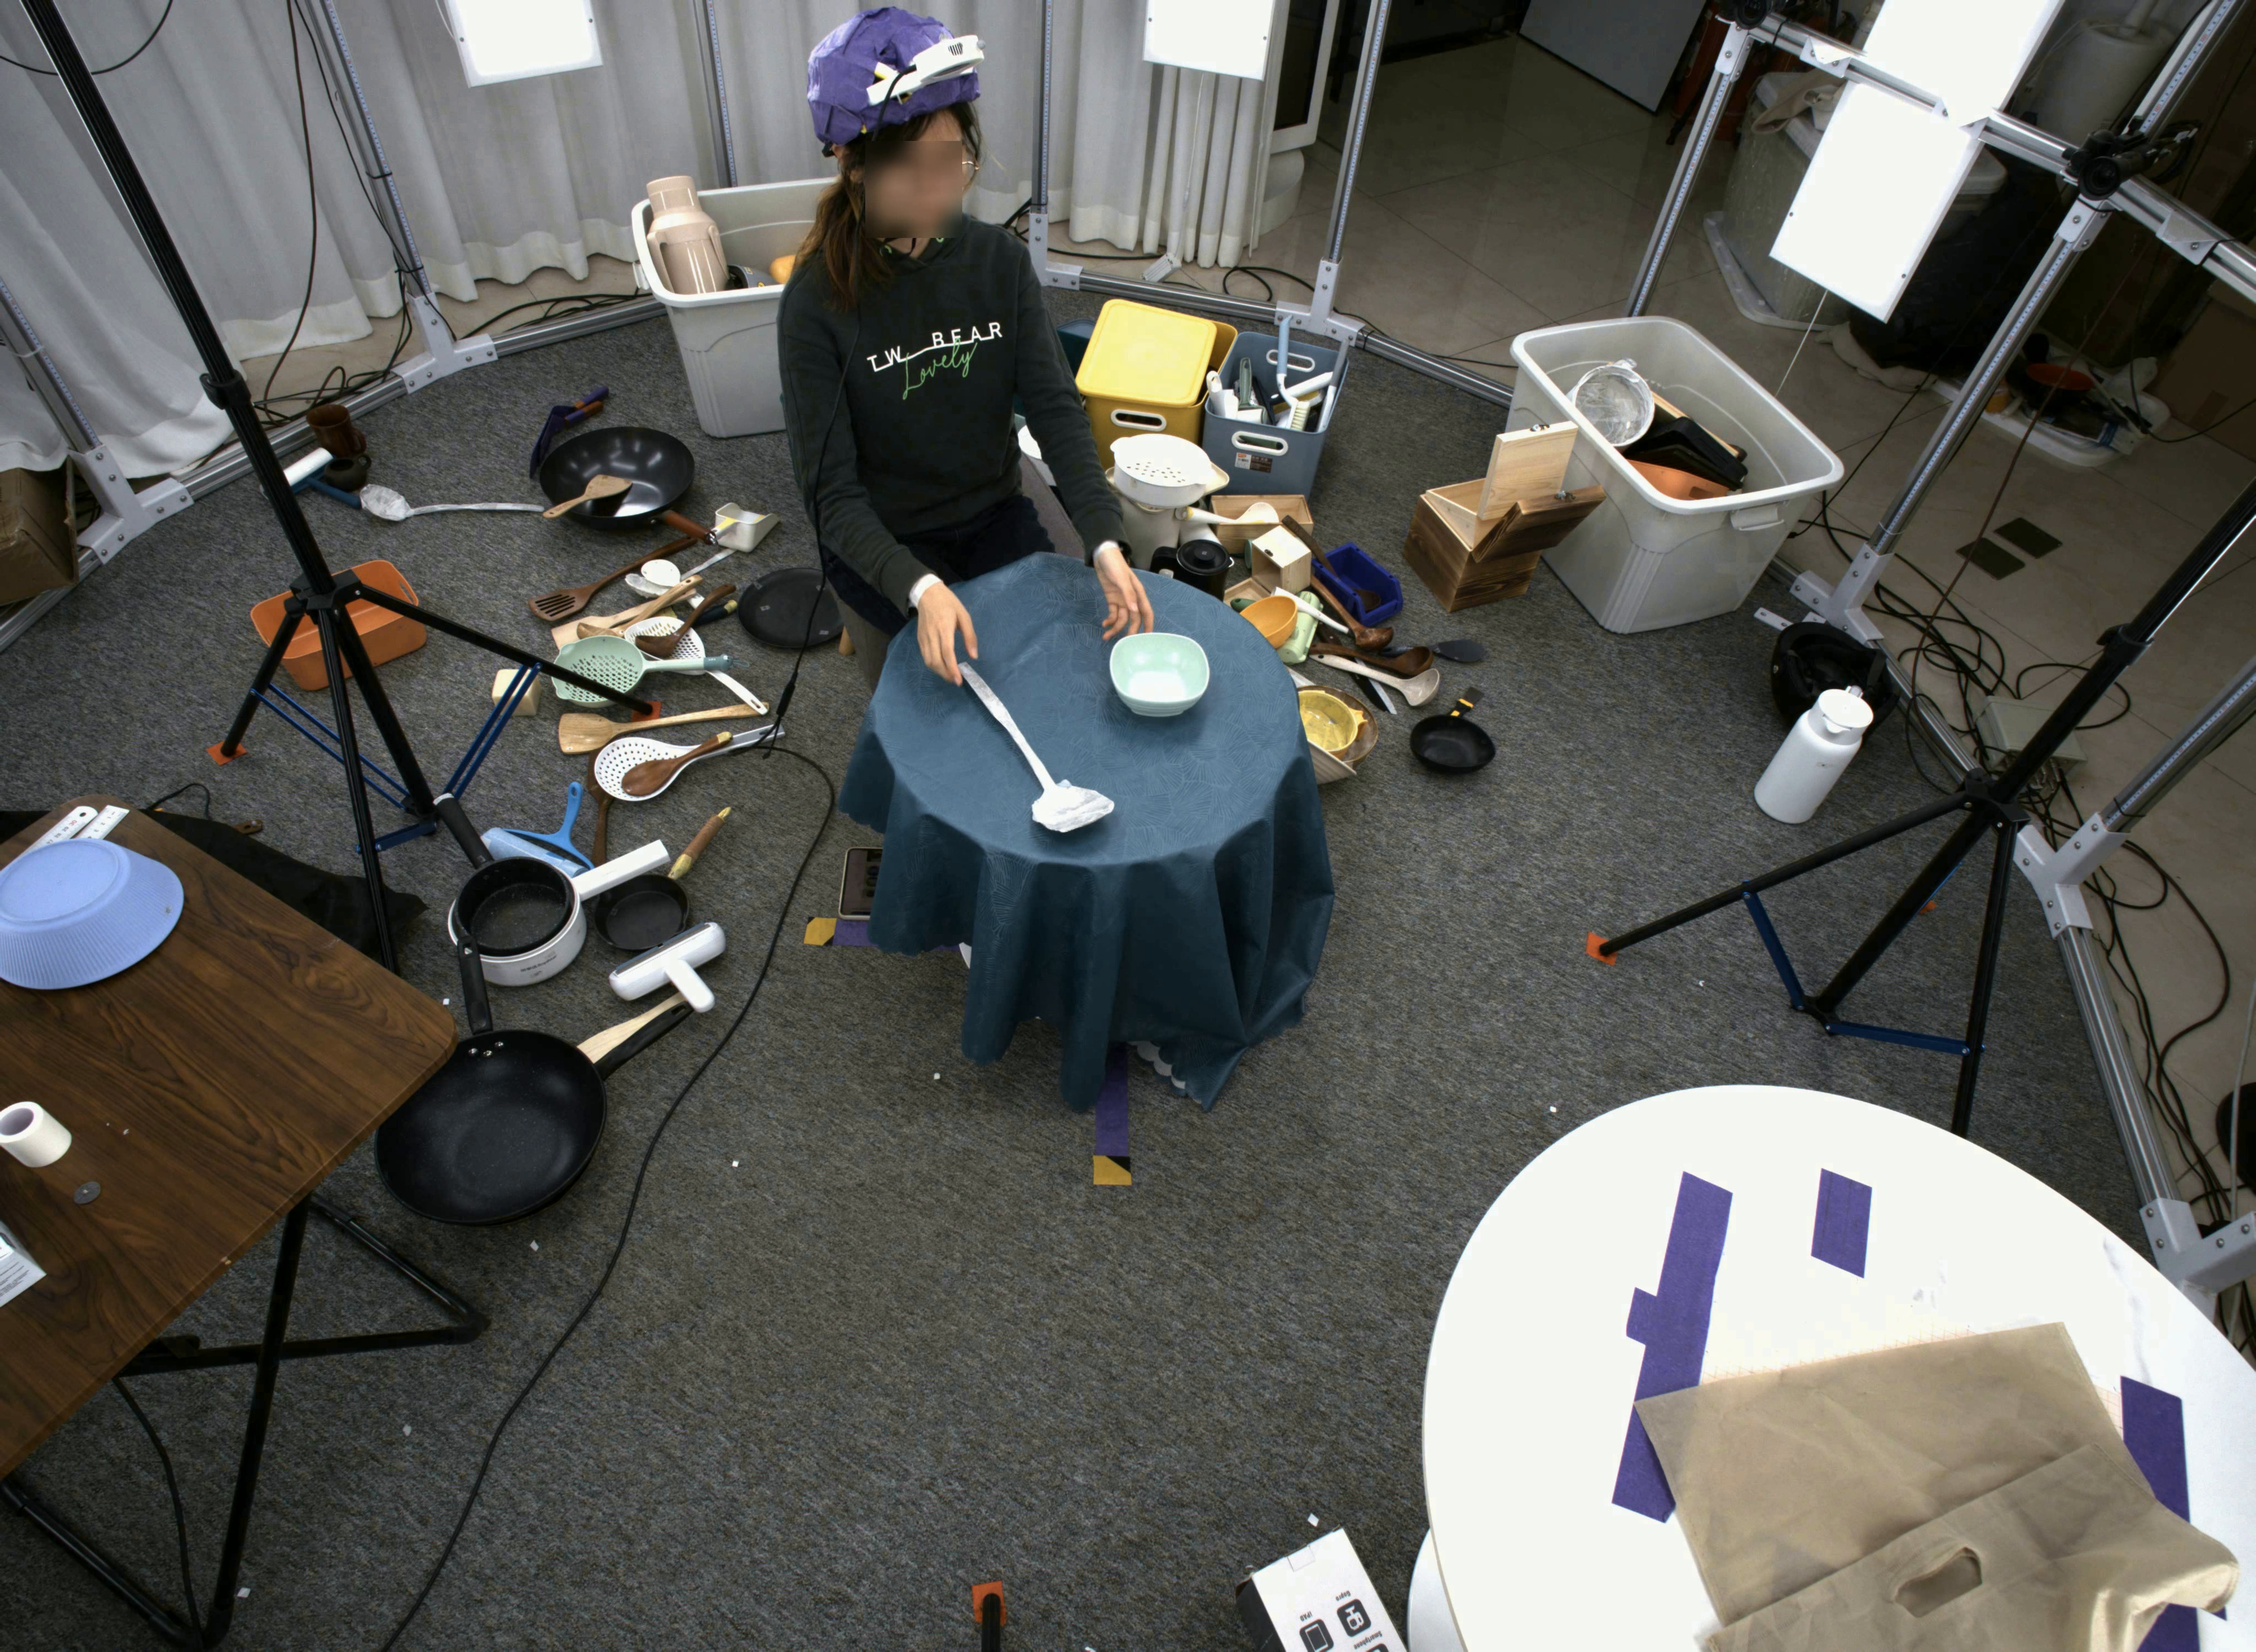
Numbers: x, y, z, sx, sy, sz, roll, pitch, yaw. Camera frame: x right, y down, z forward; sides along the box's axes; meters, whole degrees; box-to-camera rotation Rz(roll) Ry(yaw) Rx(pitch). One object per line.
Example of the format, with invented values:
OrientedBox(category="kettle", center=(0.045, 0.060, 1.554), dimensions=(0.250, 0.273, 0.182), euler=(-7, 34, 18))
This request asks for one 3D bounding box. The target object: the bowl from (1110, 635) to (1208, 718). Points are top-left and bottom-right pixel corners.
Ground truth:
OrientedBox(category="bowl", center=(0.041, -0.205, 1.830), dimensions=(0.151, 0.057, 0.155), euler=(3, 50, -4))

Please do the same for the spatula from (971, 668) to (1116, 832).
OrientedBox(category="spatula", center=(-0.138, -0.115, 1.750), dimensions=(0.099, 0.043, 0.373), euler=(-22, 54, -19))
